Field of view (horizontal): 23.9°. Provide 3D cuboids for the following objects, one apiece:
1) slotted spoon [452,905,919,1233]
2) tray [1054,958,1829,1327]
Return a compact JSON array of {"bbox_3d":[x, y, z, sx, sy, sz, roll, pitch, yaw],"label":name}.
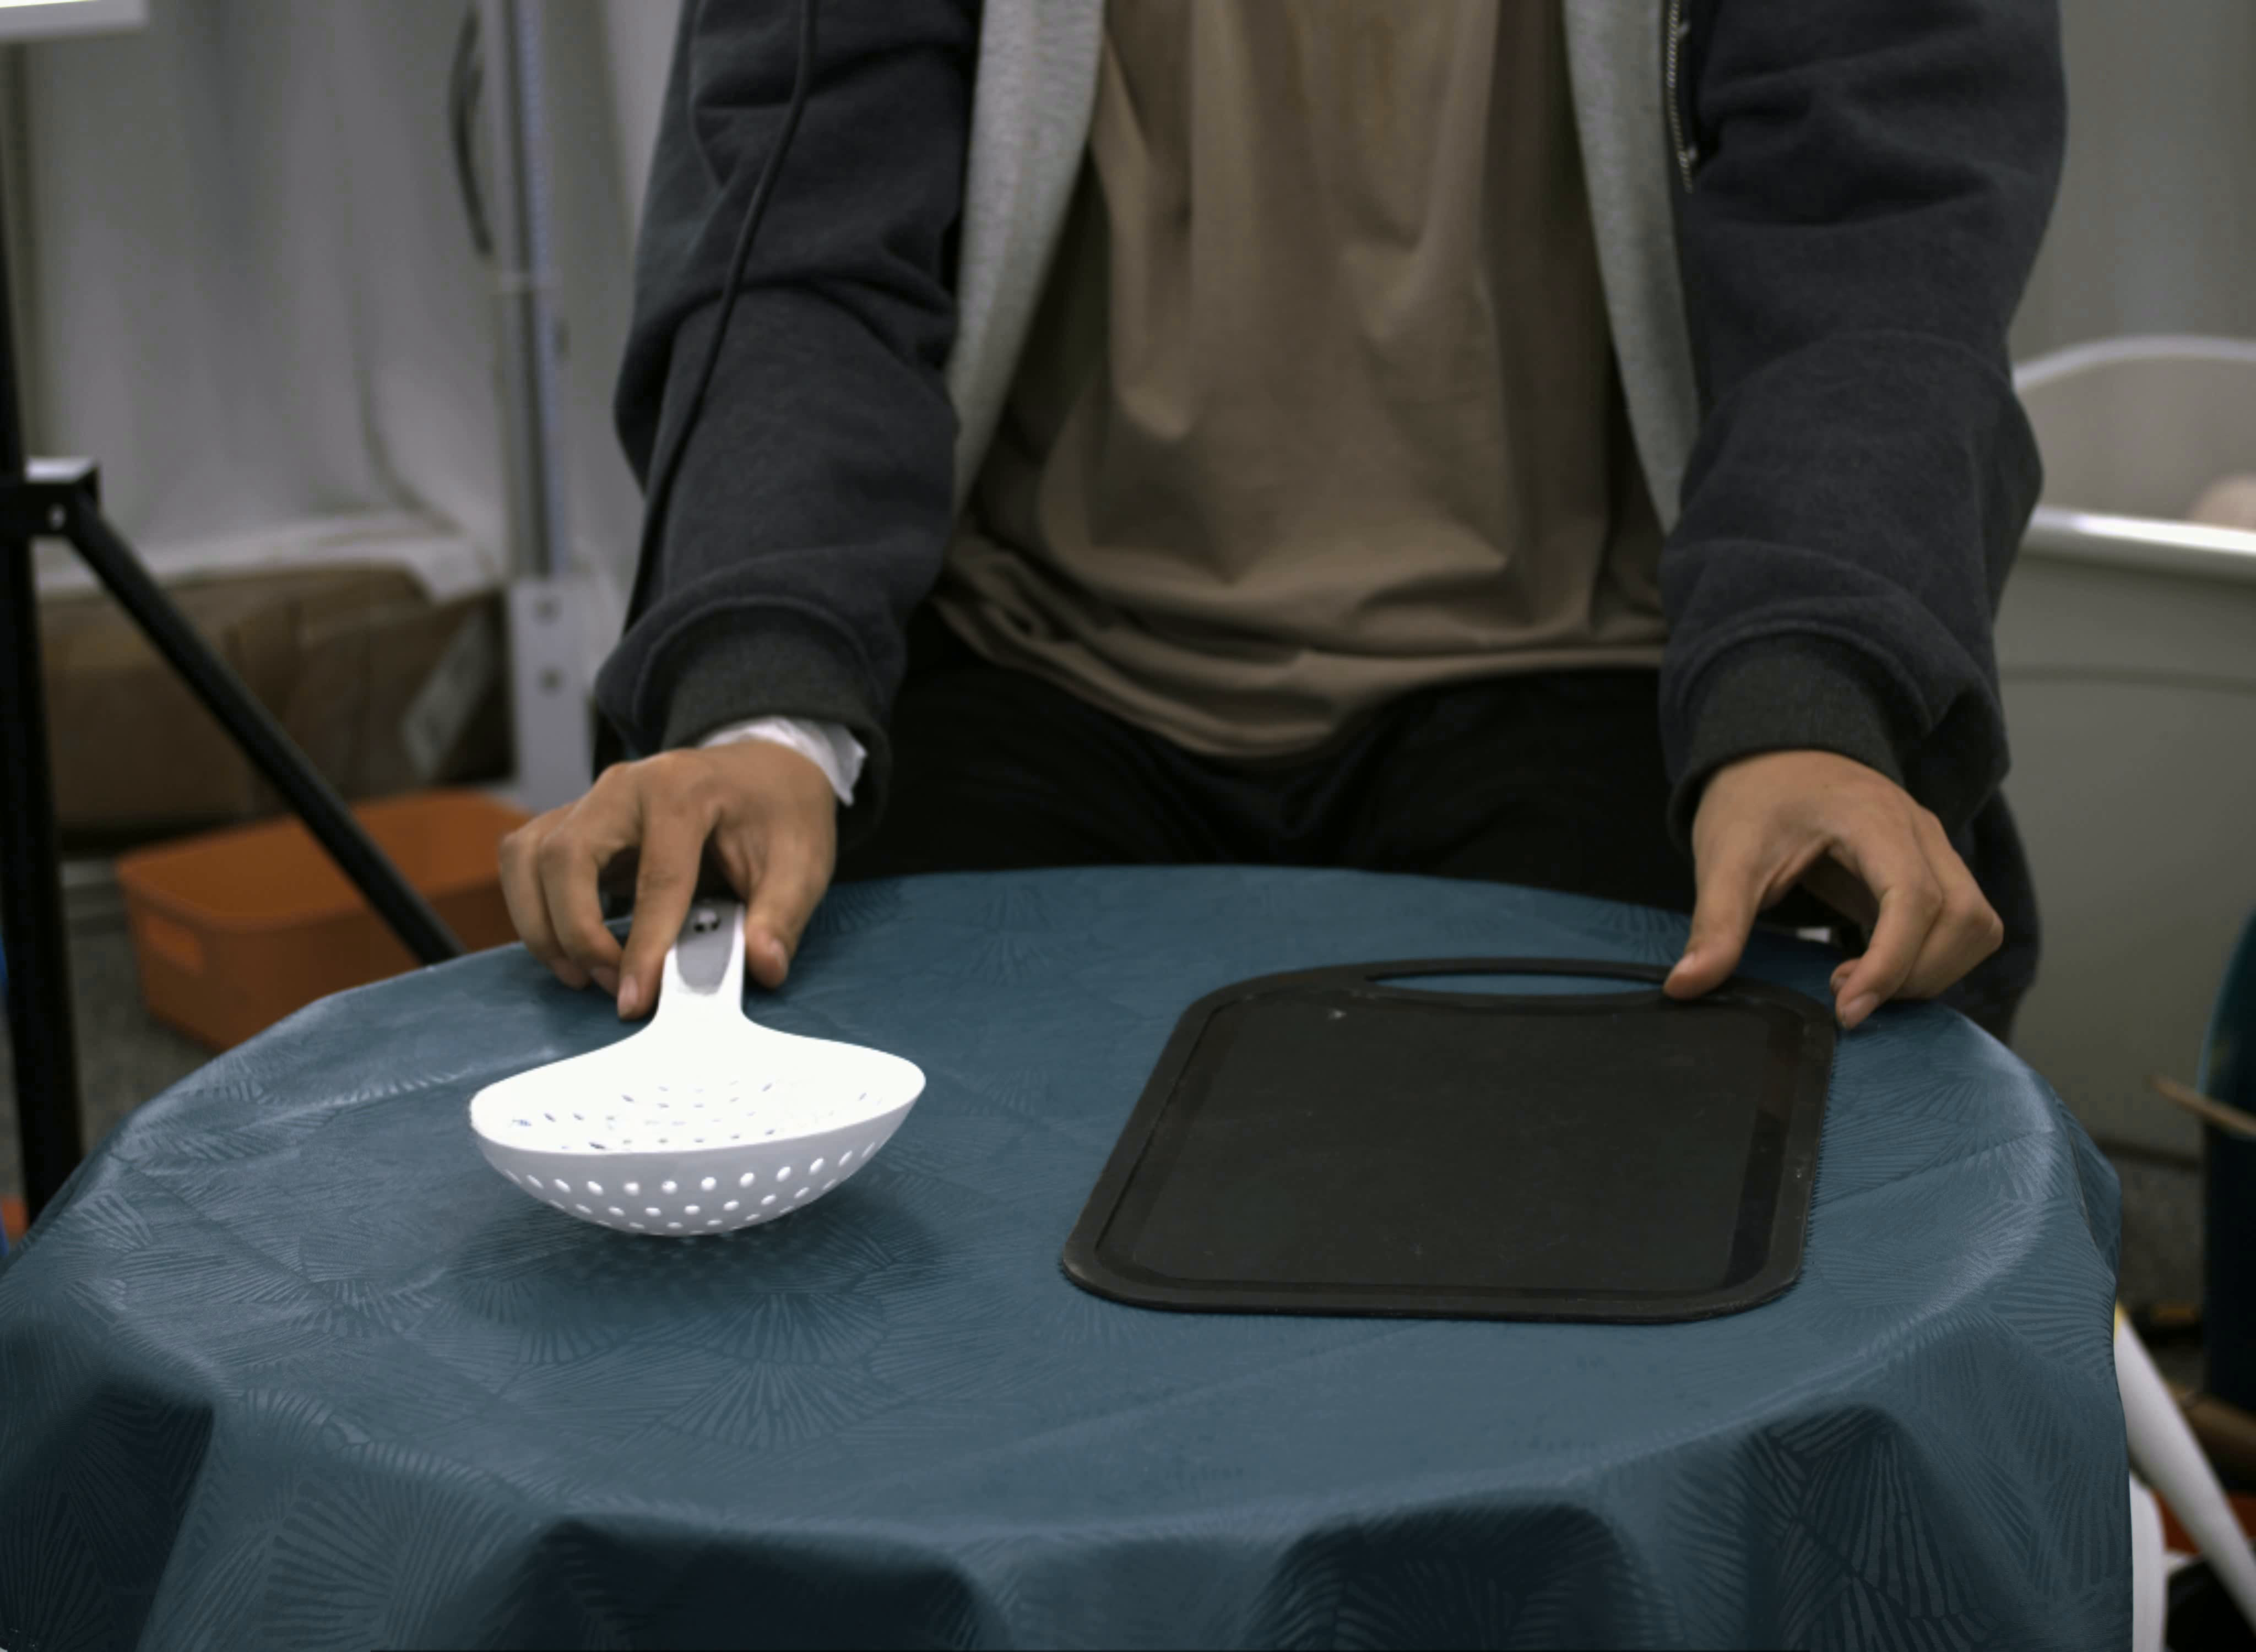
[{"bbox_3d":[-0.134,0.065,1.650,0.135,0.046,0.352,-4,15,-2],"label":"slotted spoon"},{"bbox_3d":[0.102,0.088,1.601,0.212,0.010,0.324,1,16,11],"label":"tray"}]
